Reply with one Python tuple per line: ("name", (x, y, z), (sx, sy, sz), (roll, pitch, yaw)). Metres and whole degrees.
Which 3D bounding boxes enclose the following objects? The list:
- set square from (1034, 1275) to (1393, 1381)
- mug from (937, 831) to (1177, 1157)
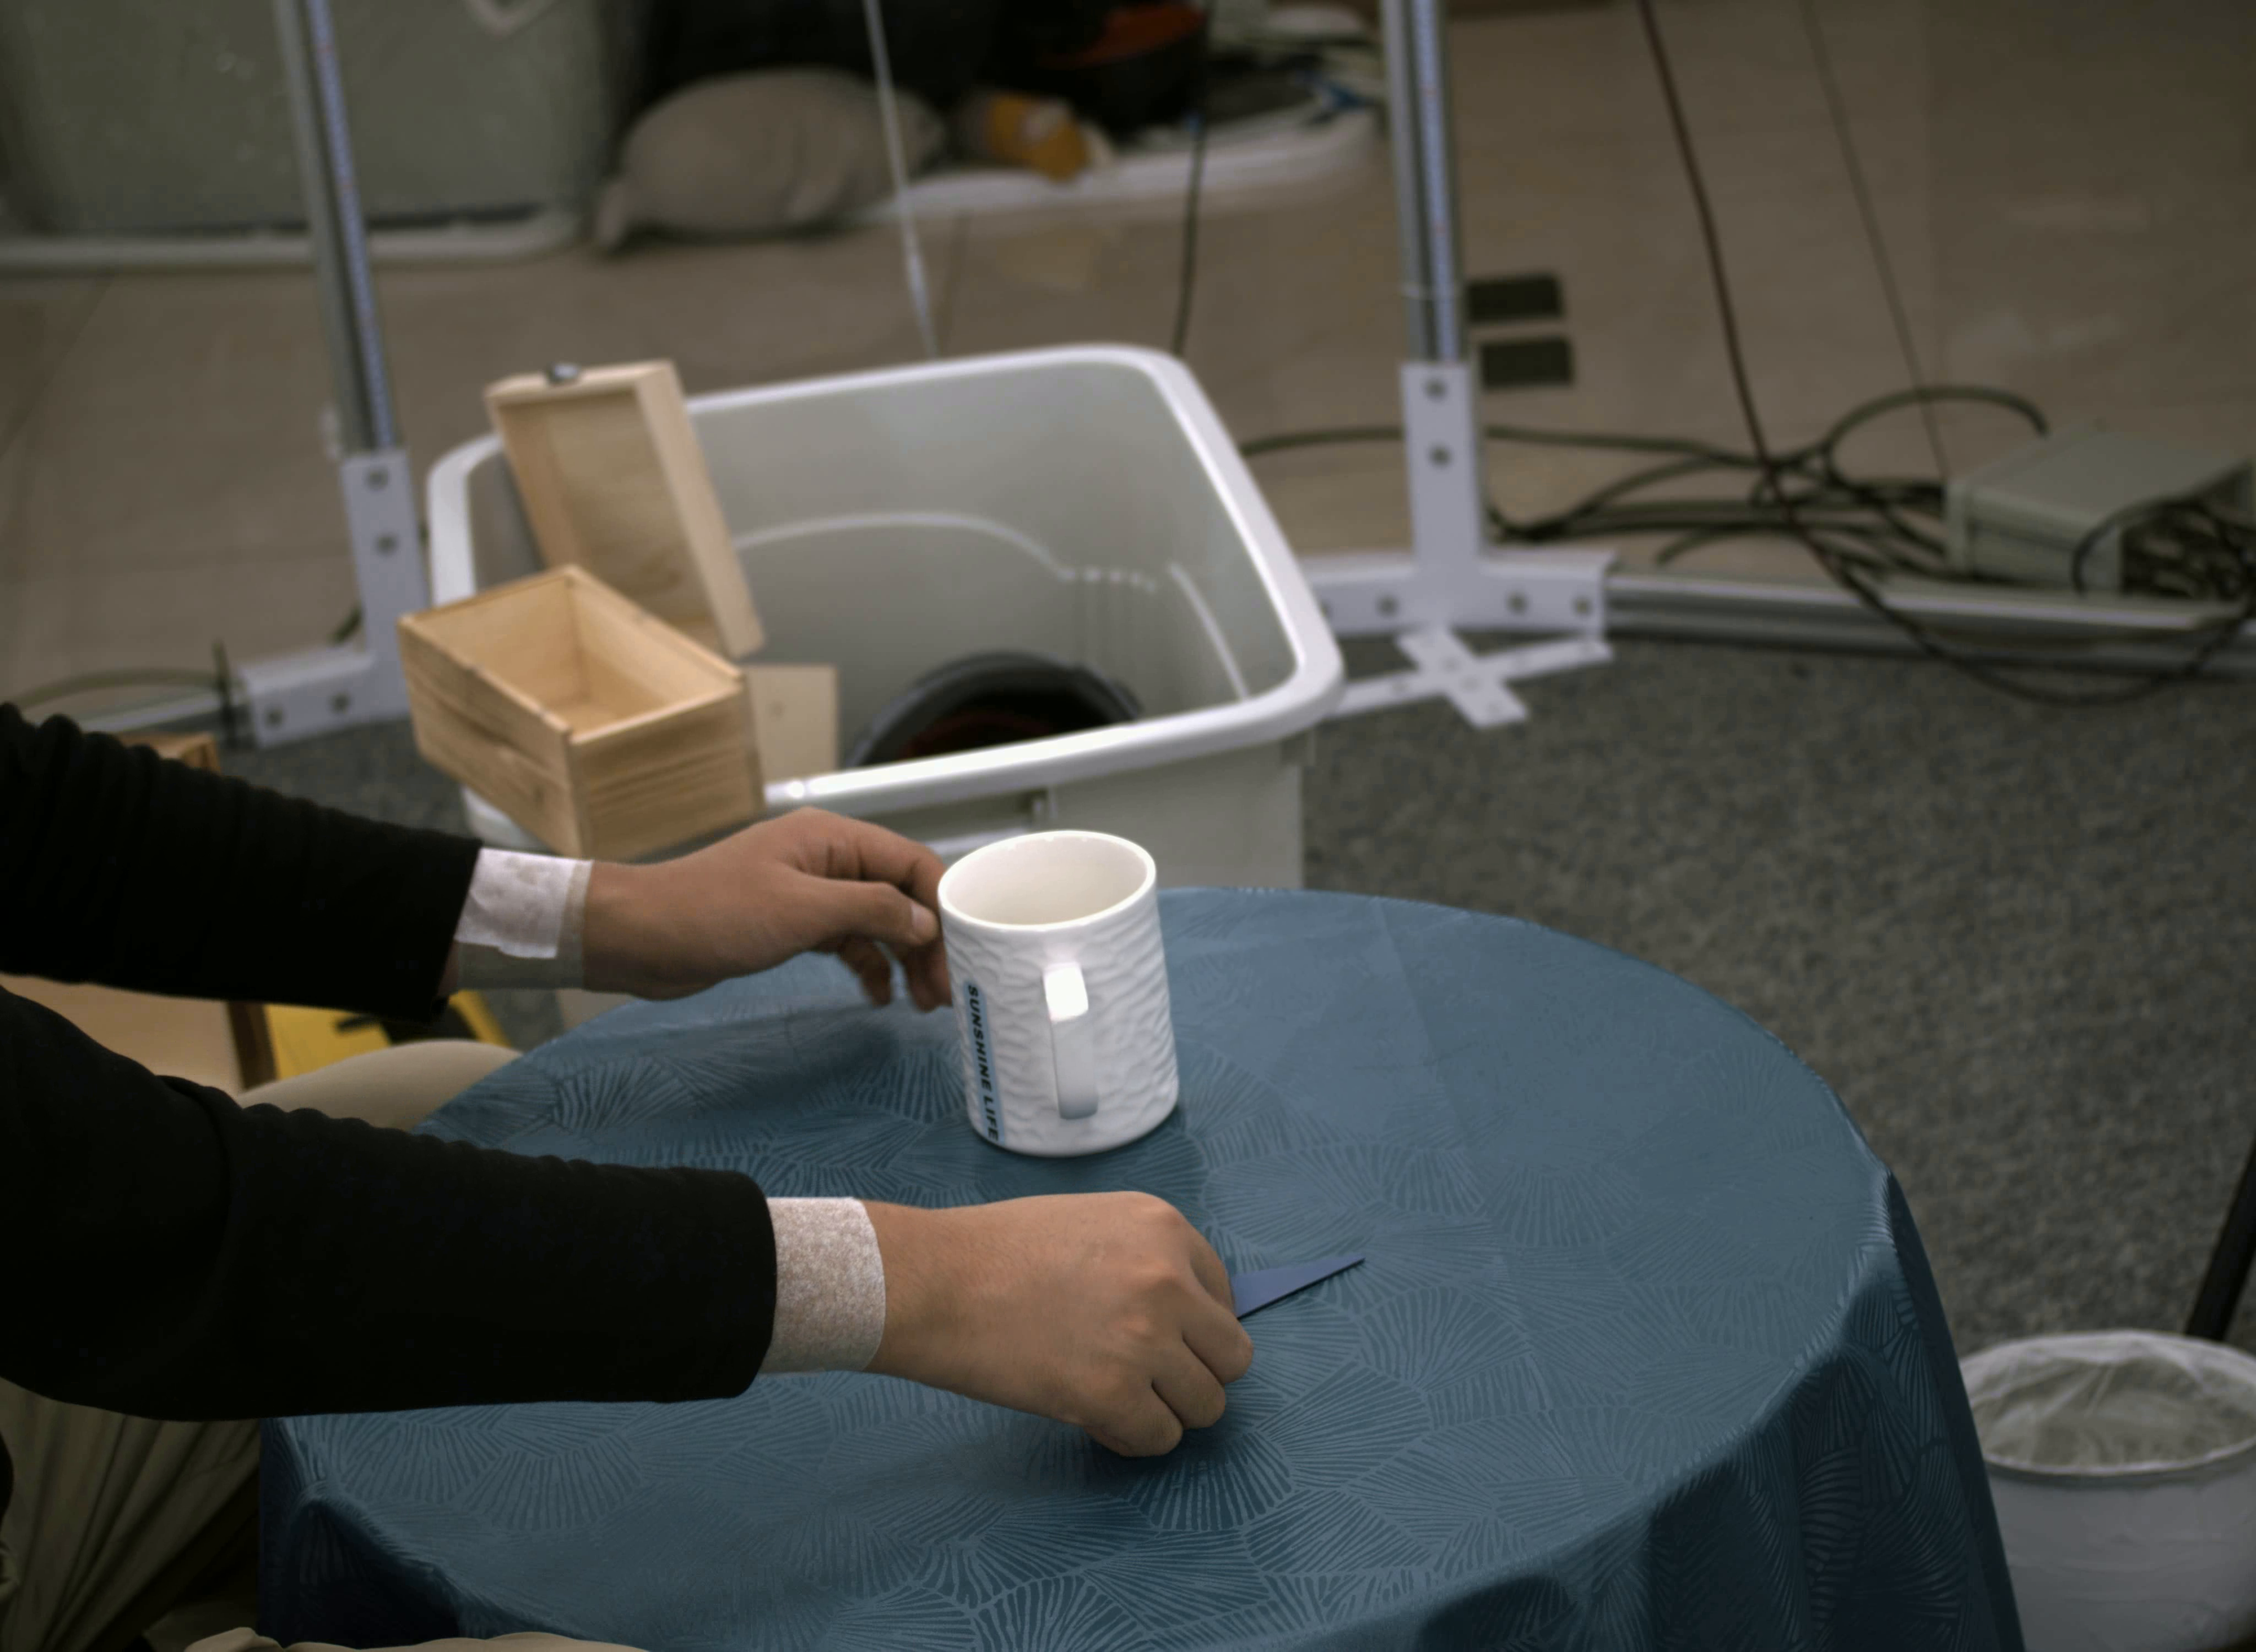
("set square", (0.032, 0.181, 2.046), (0.132, 0.006, 0.060), (-6, 23, 0))
("mug", (-0.025, 0.072, 2.175), (0.085, 0.103, 0.116), (-7, 25, -3))
